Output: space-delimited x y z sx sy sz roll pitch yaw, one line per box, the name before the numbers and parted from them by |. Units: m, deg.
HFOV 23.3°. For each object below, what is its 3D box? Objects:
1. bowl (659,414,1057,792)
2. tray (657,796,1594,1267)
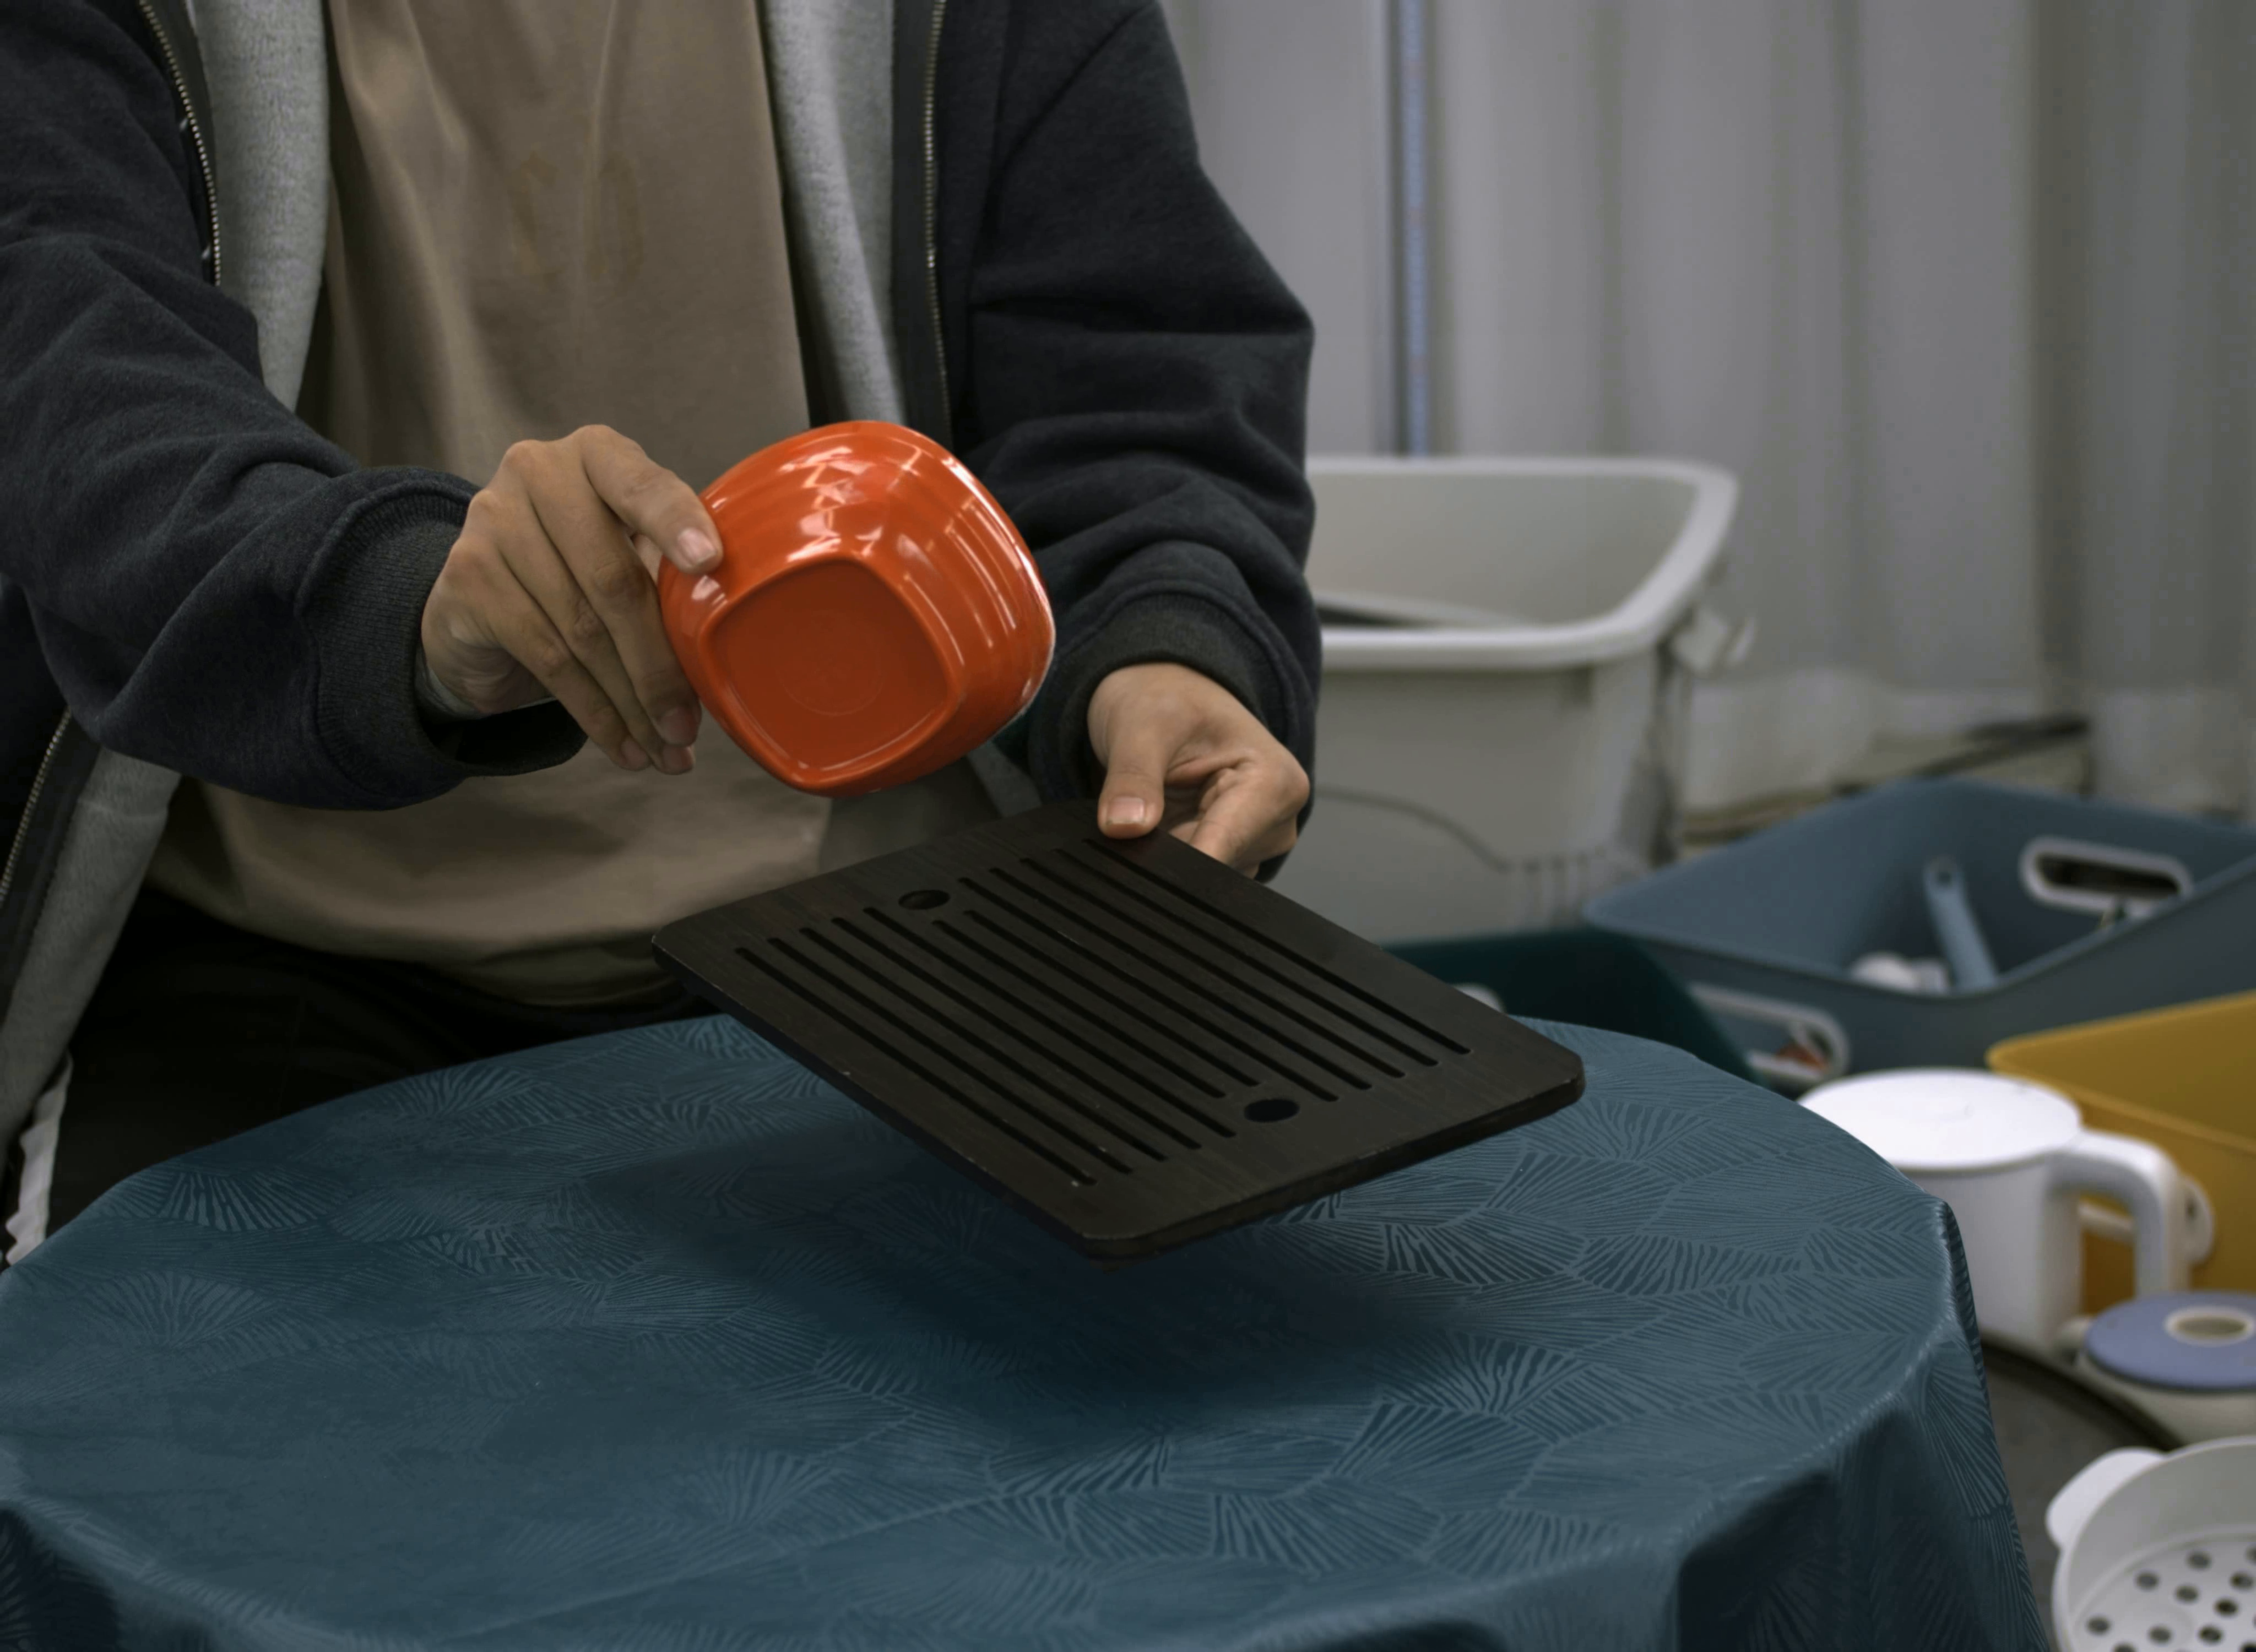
bowl | -0.082 -0.056 1.585 0.119 0.118 0.052 0 26 9
tray | -0.008 0.058 1.672 0.170 0.018 0.308 -17 24 -25
